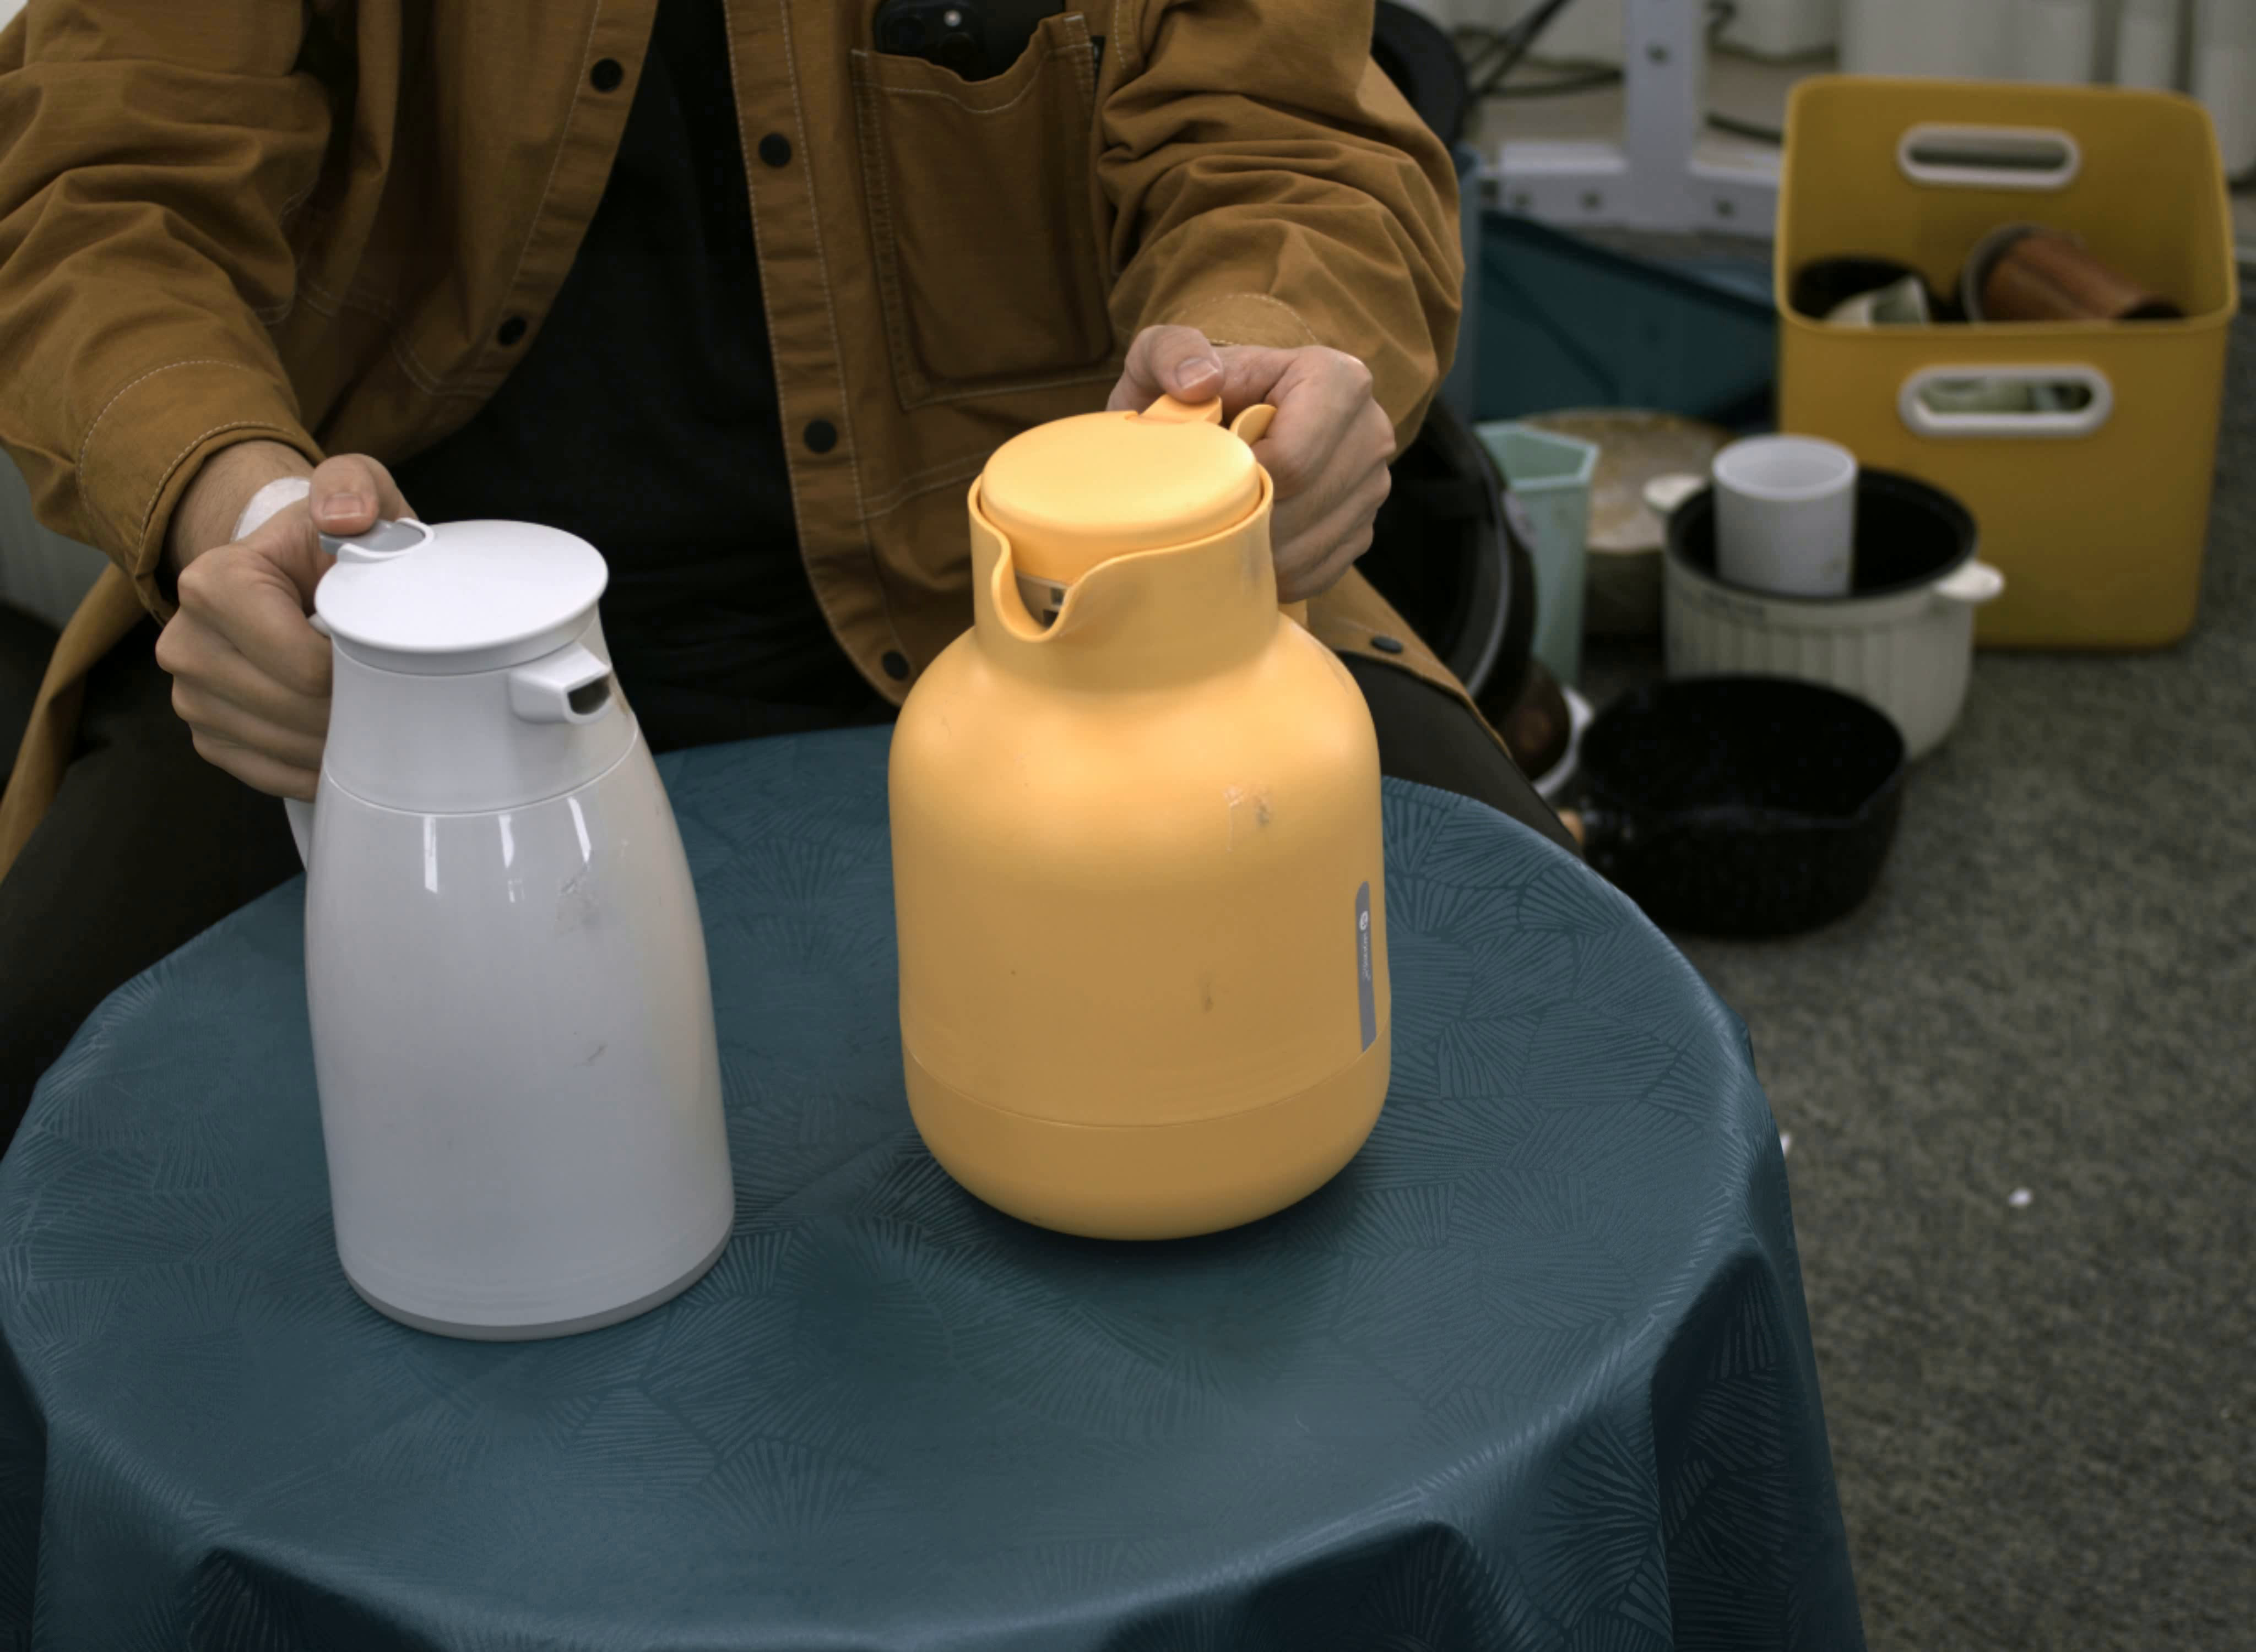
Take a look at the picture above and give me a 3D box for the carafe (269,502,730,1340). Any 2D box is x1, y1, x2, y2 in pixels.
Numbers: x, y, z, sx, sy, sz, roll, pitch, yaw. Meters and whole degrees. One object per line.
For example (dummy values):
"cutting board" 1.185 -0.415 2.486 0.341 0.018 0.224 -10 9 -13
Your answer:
"carafe" -0.216 0.020 1.808 0.134 0.246 0.167 -26 34 -38

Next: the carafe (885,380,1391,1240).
"carafe" 0.011 -0.014 1.840 0.162 0.257 0.206 11 31 23
